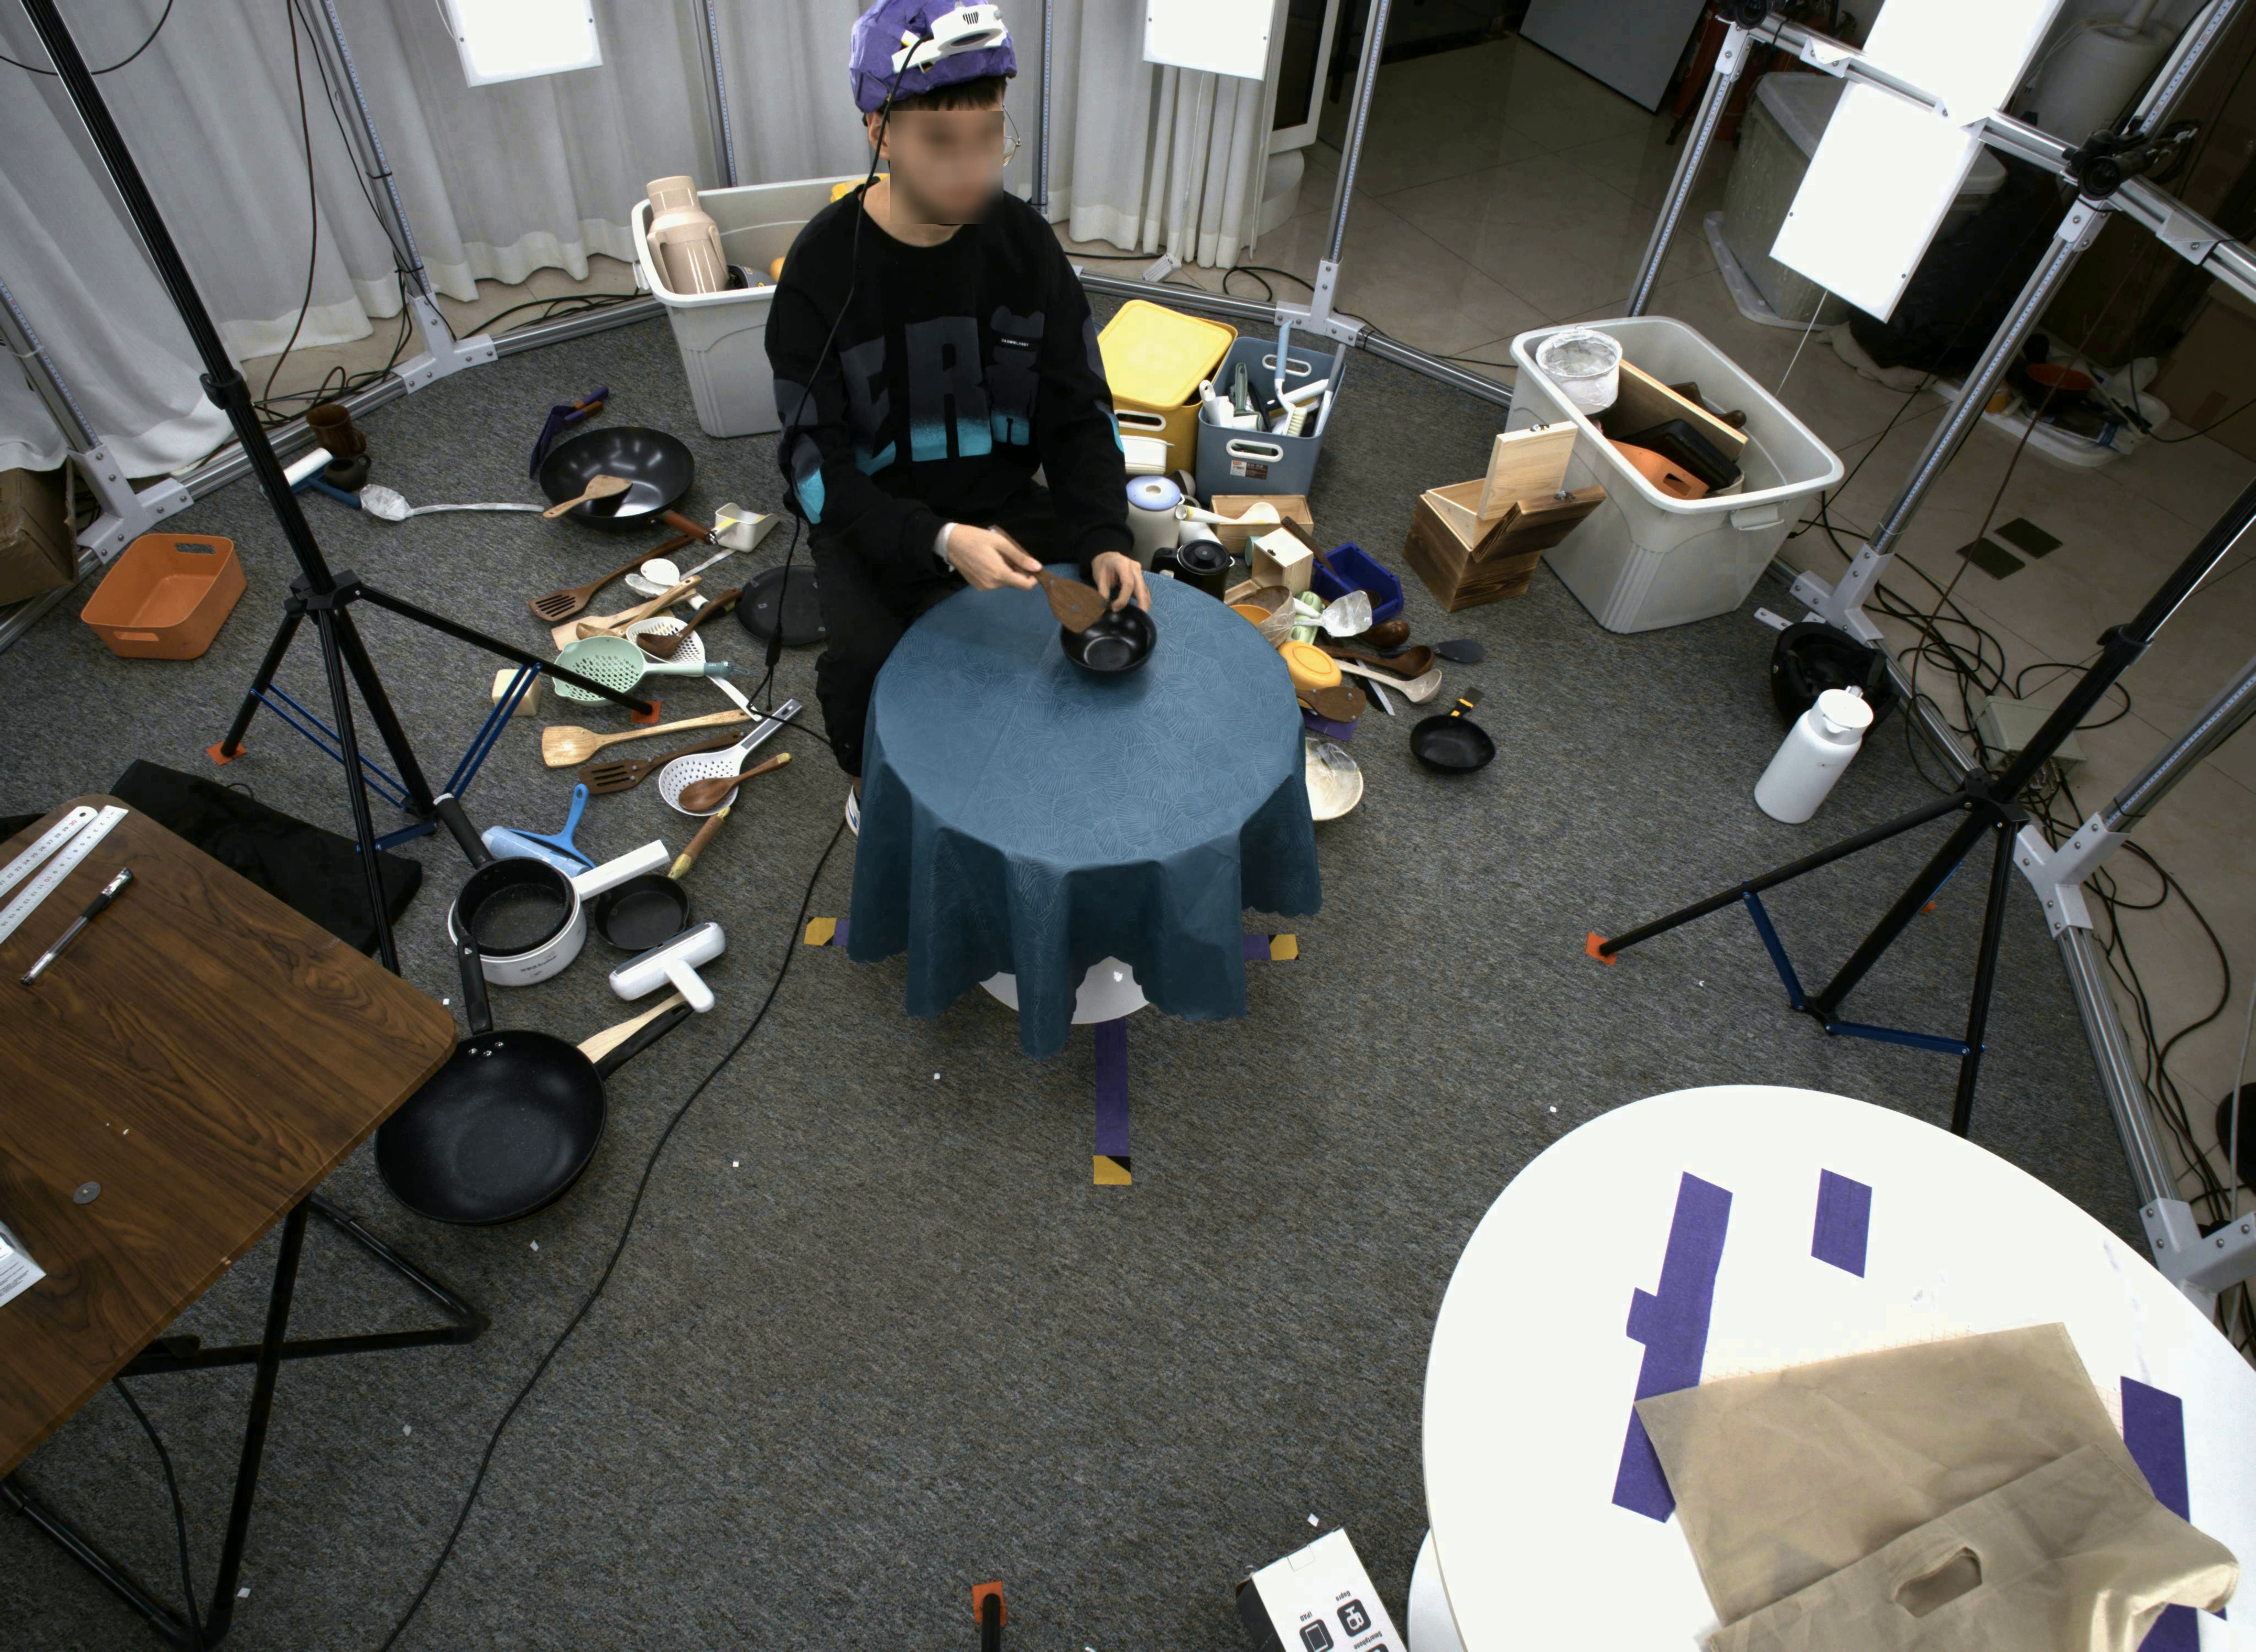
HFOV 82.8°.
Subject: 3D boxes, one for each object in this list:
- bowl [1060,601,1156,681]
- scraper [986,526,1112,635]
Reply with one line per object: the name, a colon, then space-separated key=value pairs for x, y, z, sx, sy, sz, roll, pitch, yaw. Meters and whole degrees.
bowl: x=-0.028 y=-0.260 z=1.868 sx=0.140 sy=0.048 sz=0.143 roll=-1 pitch=55 yaw=2
scraper: x=-0.118 y=-0.354 z=1.828 sx=0.213 sy=0.010 sz=0.076 roll=42 pitch=68 yaw=10
